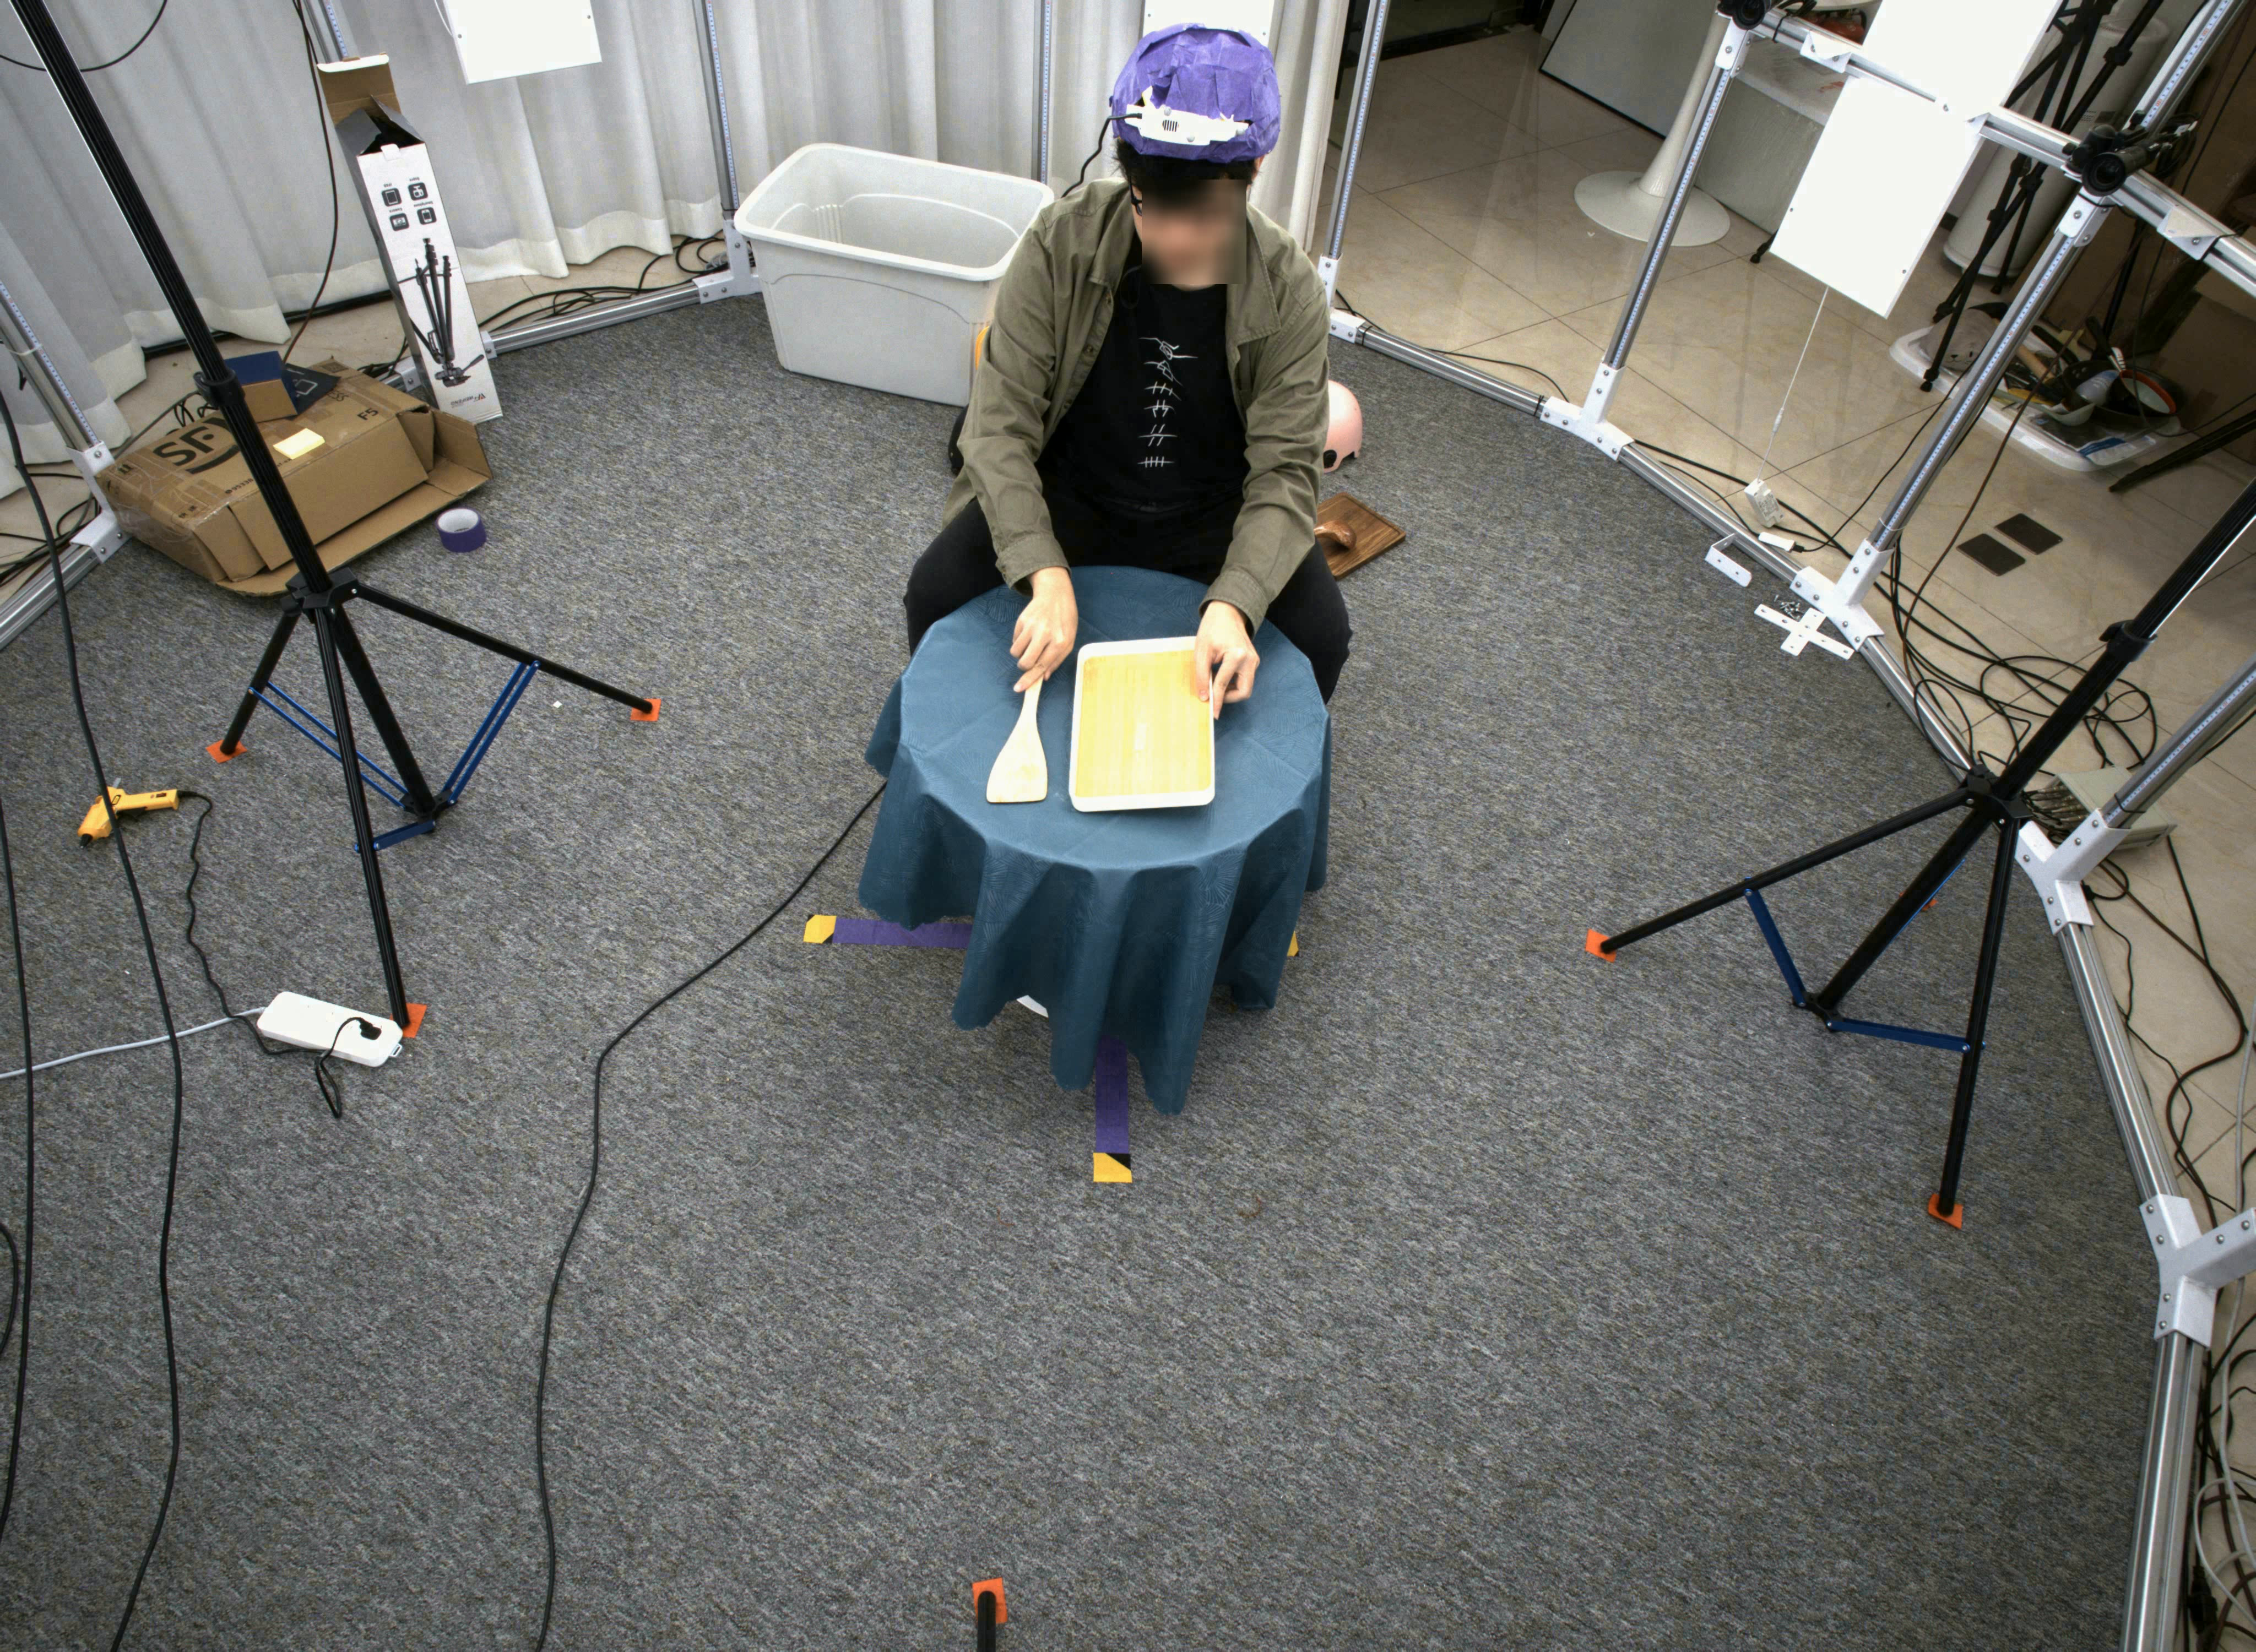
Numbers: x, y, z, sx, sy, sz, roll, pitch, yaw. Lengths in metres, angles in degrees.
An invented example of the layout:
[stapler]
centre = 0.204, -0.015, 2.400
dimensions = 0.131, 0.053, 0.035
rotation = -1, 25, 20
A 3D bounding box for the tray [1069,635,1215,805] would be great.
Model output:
[tray]
centre = 0.022, -0.150, 1.753
dimensions = 0.191, 0.027, 0.308
rotation = -2, 47, 5

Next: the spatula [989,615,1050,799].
[spatula]
centre = -0.134, -0.168, 1.767
dimensions = 0.080, 0.016, 0.335
rotation = 5, 56, -1
